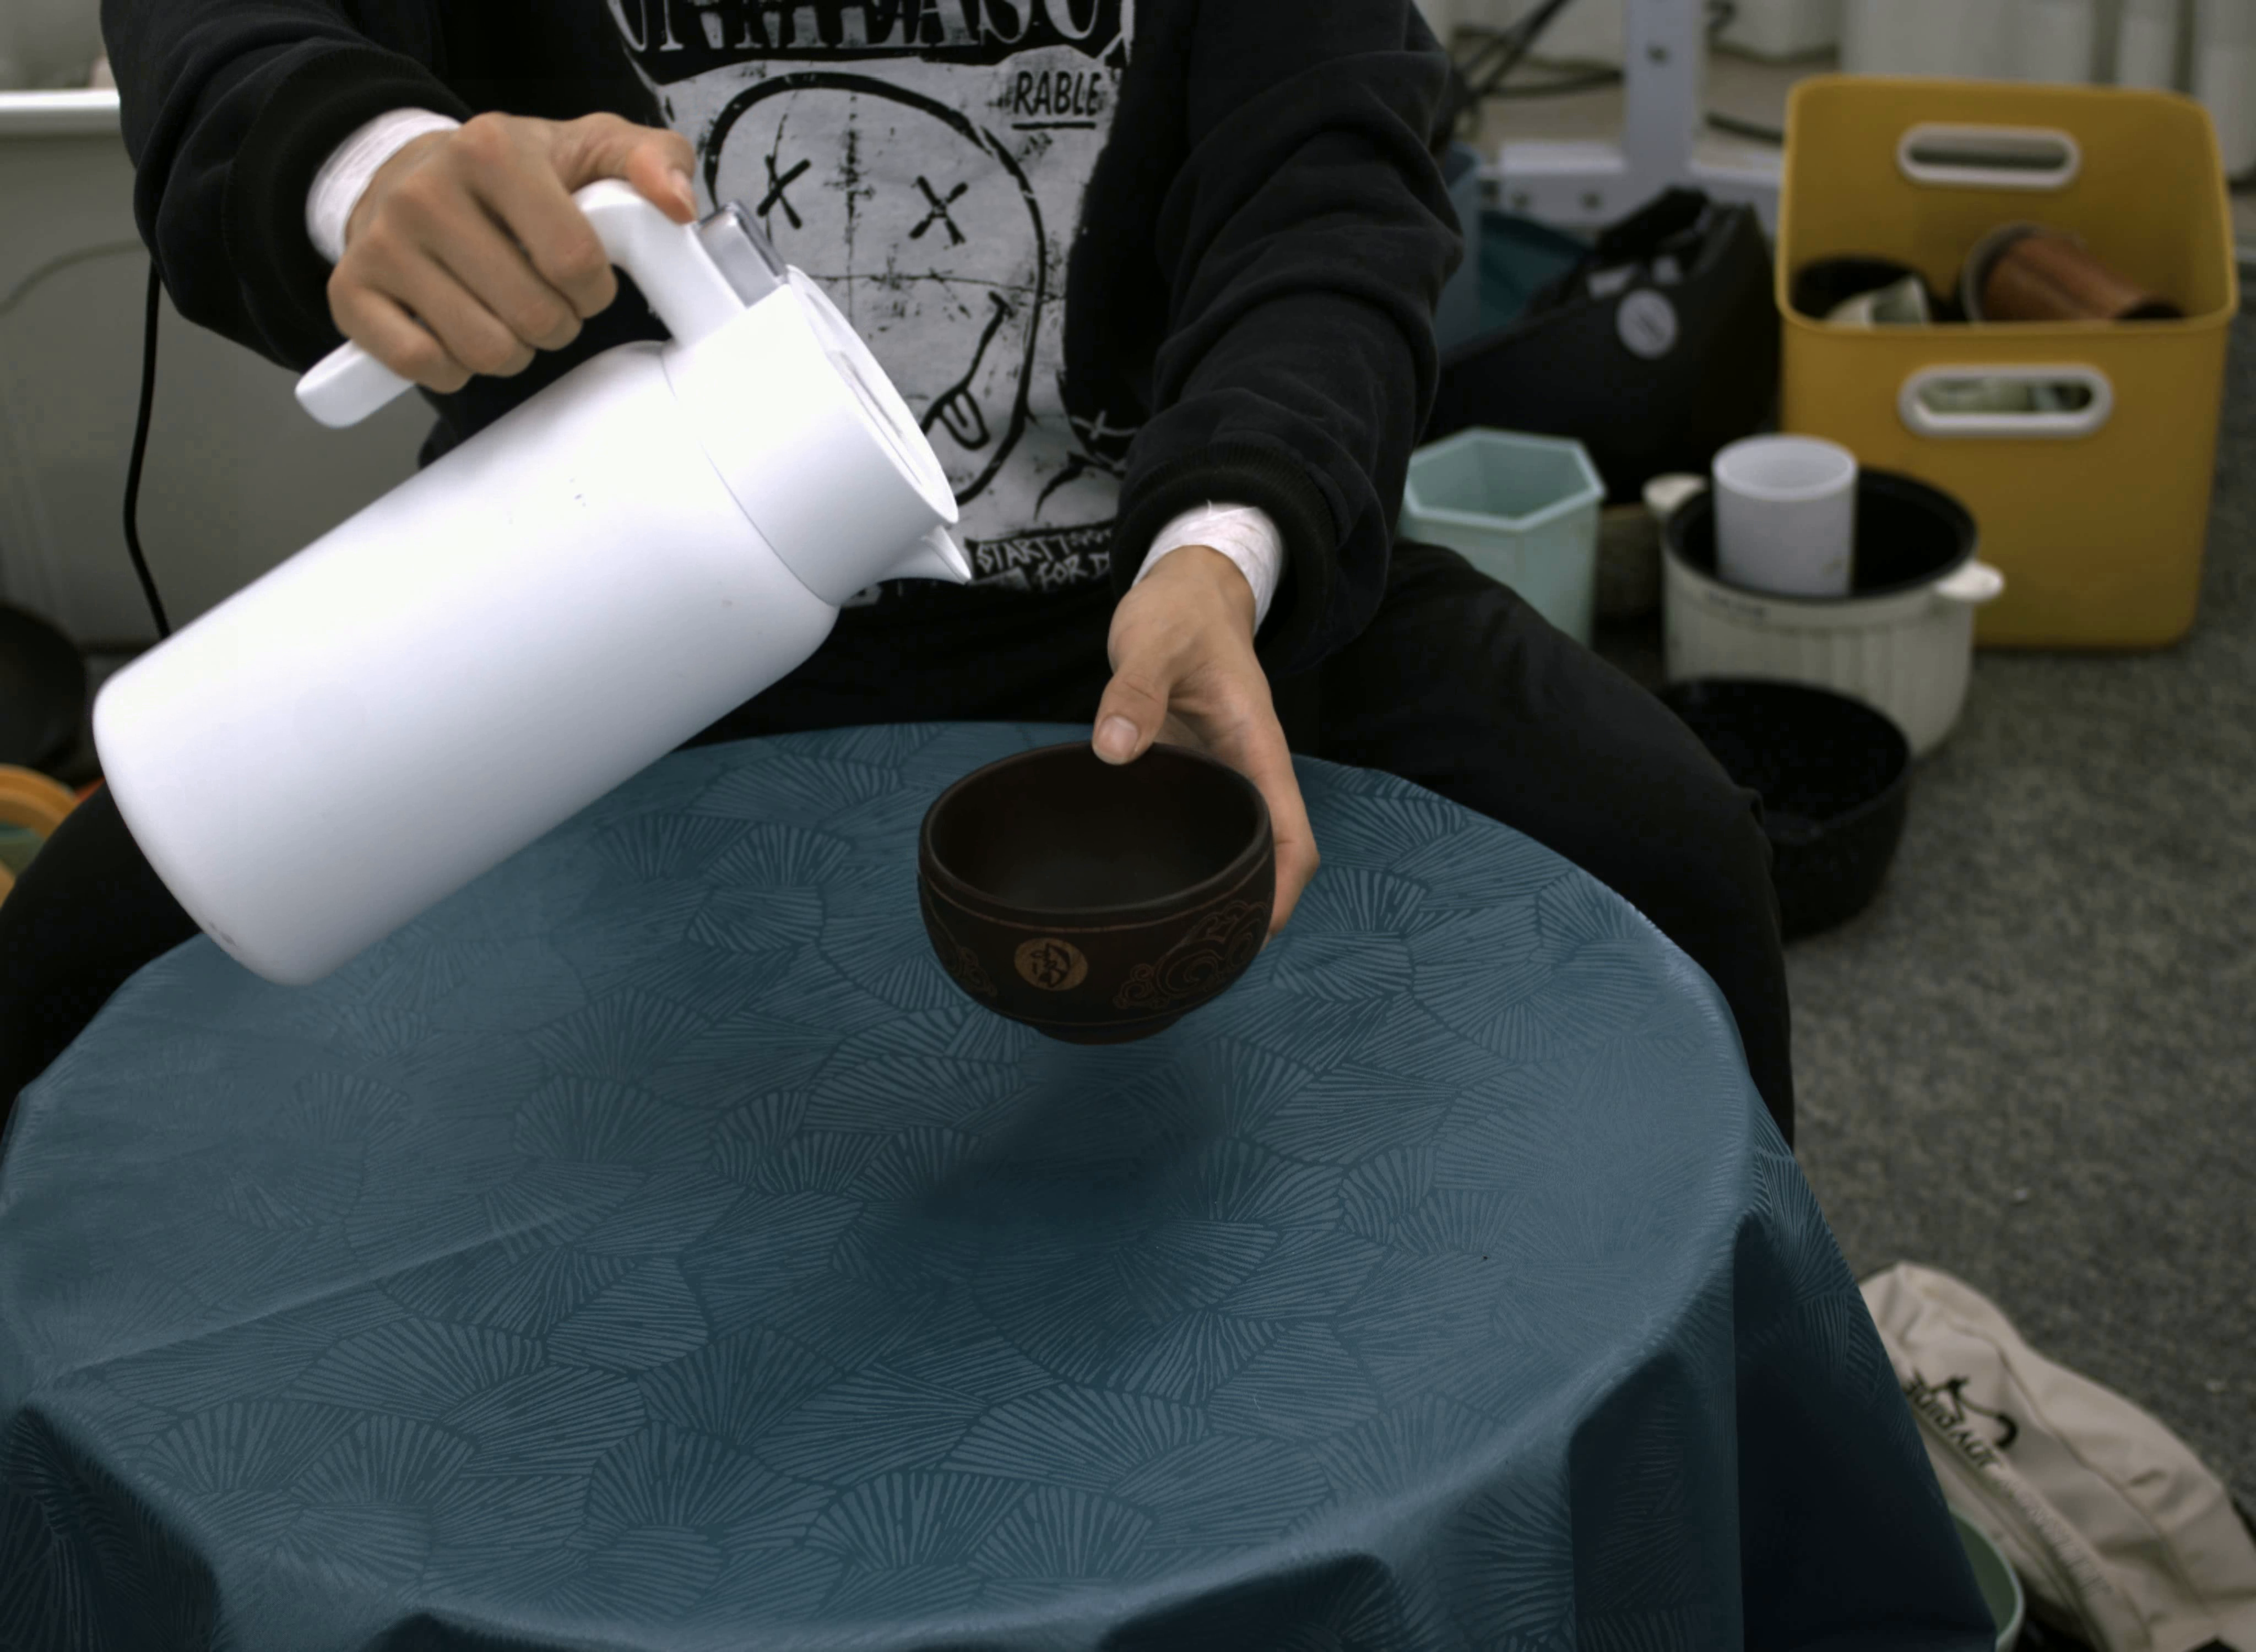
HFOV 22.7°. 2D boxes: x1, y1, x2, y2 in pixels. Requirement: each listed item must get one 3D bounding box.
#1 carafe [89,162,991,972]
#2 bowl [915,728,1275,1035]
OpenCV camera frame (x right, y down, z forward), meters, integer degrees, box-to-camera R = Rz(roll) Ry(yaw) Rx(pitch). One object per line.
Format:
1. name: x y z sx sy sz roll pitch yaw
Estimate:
1. carafe: -0.197 -0.081 1.767 0.267 0.172 0.125 -32 20 8
2. bowl: -0.010 0.025 1.839 0.117 0.069 0.120 -3 28 2
